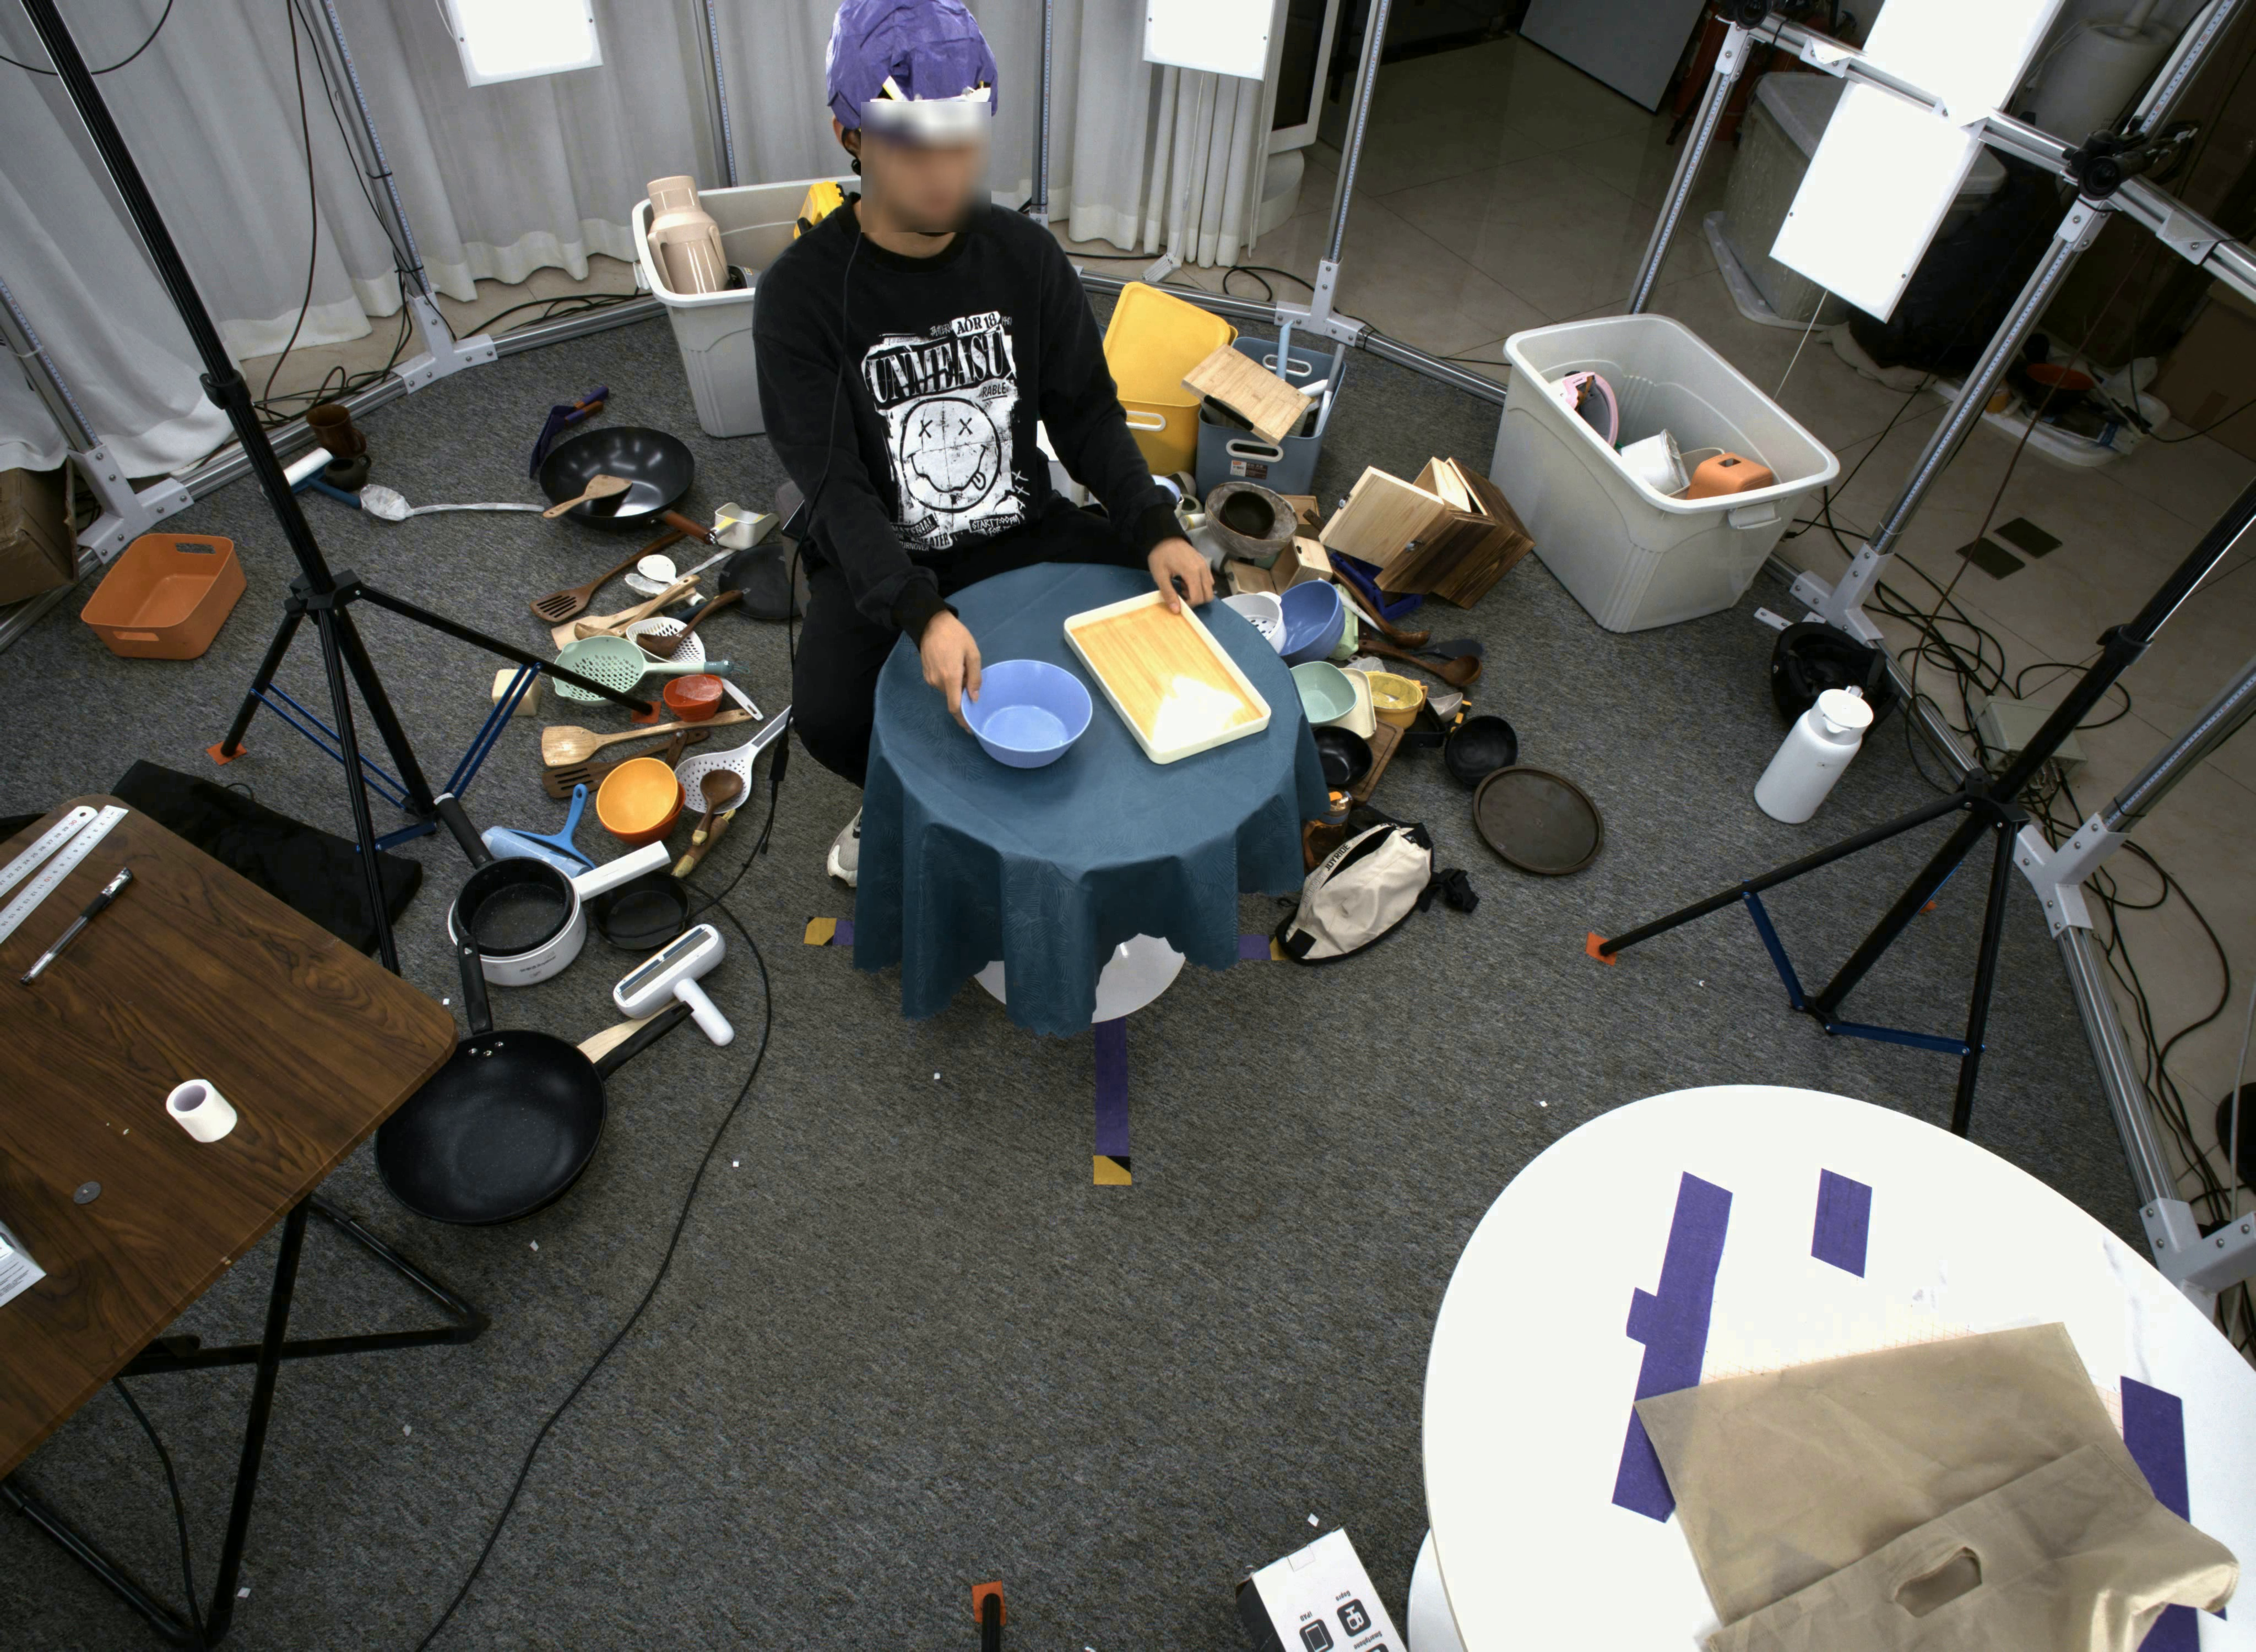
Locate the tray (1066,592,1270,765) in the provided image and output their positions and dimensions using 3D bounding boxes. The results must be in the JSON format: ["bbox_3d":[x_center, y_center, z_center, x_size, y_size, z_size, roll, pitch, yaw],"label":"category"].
[{"bbox_3d":[0.054,-0.220,1.863,0.192,0.027,0.307,-19,53,-20],"label":"tray"}]

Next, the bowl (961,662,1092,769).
[{"bbox_3d":[-0.139,-0.142,1.749,0.176,0.068,0.180,4,48,-5],"label":"bowl"}]
